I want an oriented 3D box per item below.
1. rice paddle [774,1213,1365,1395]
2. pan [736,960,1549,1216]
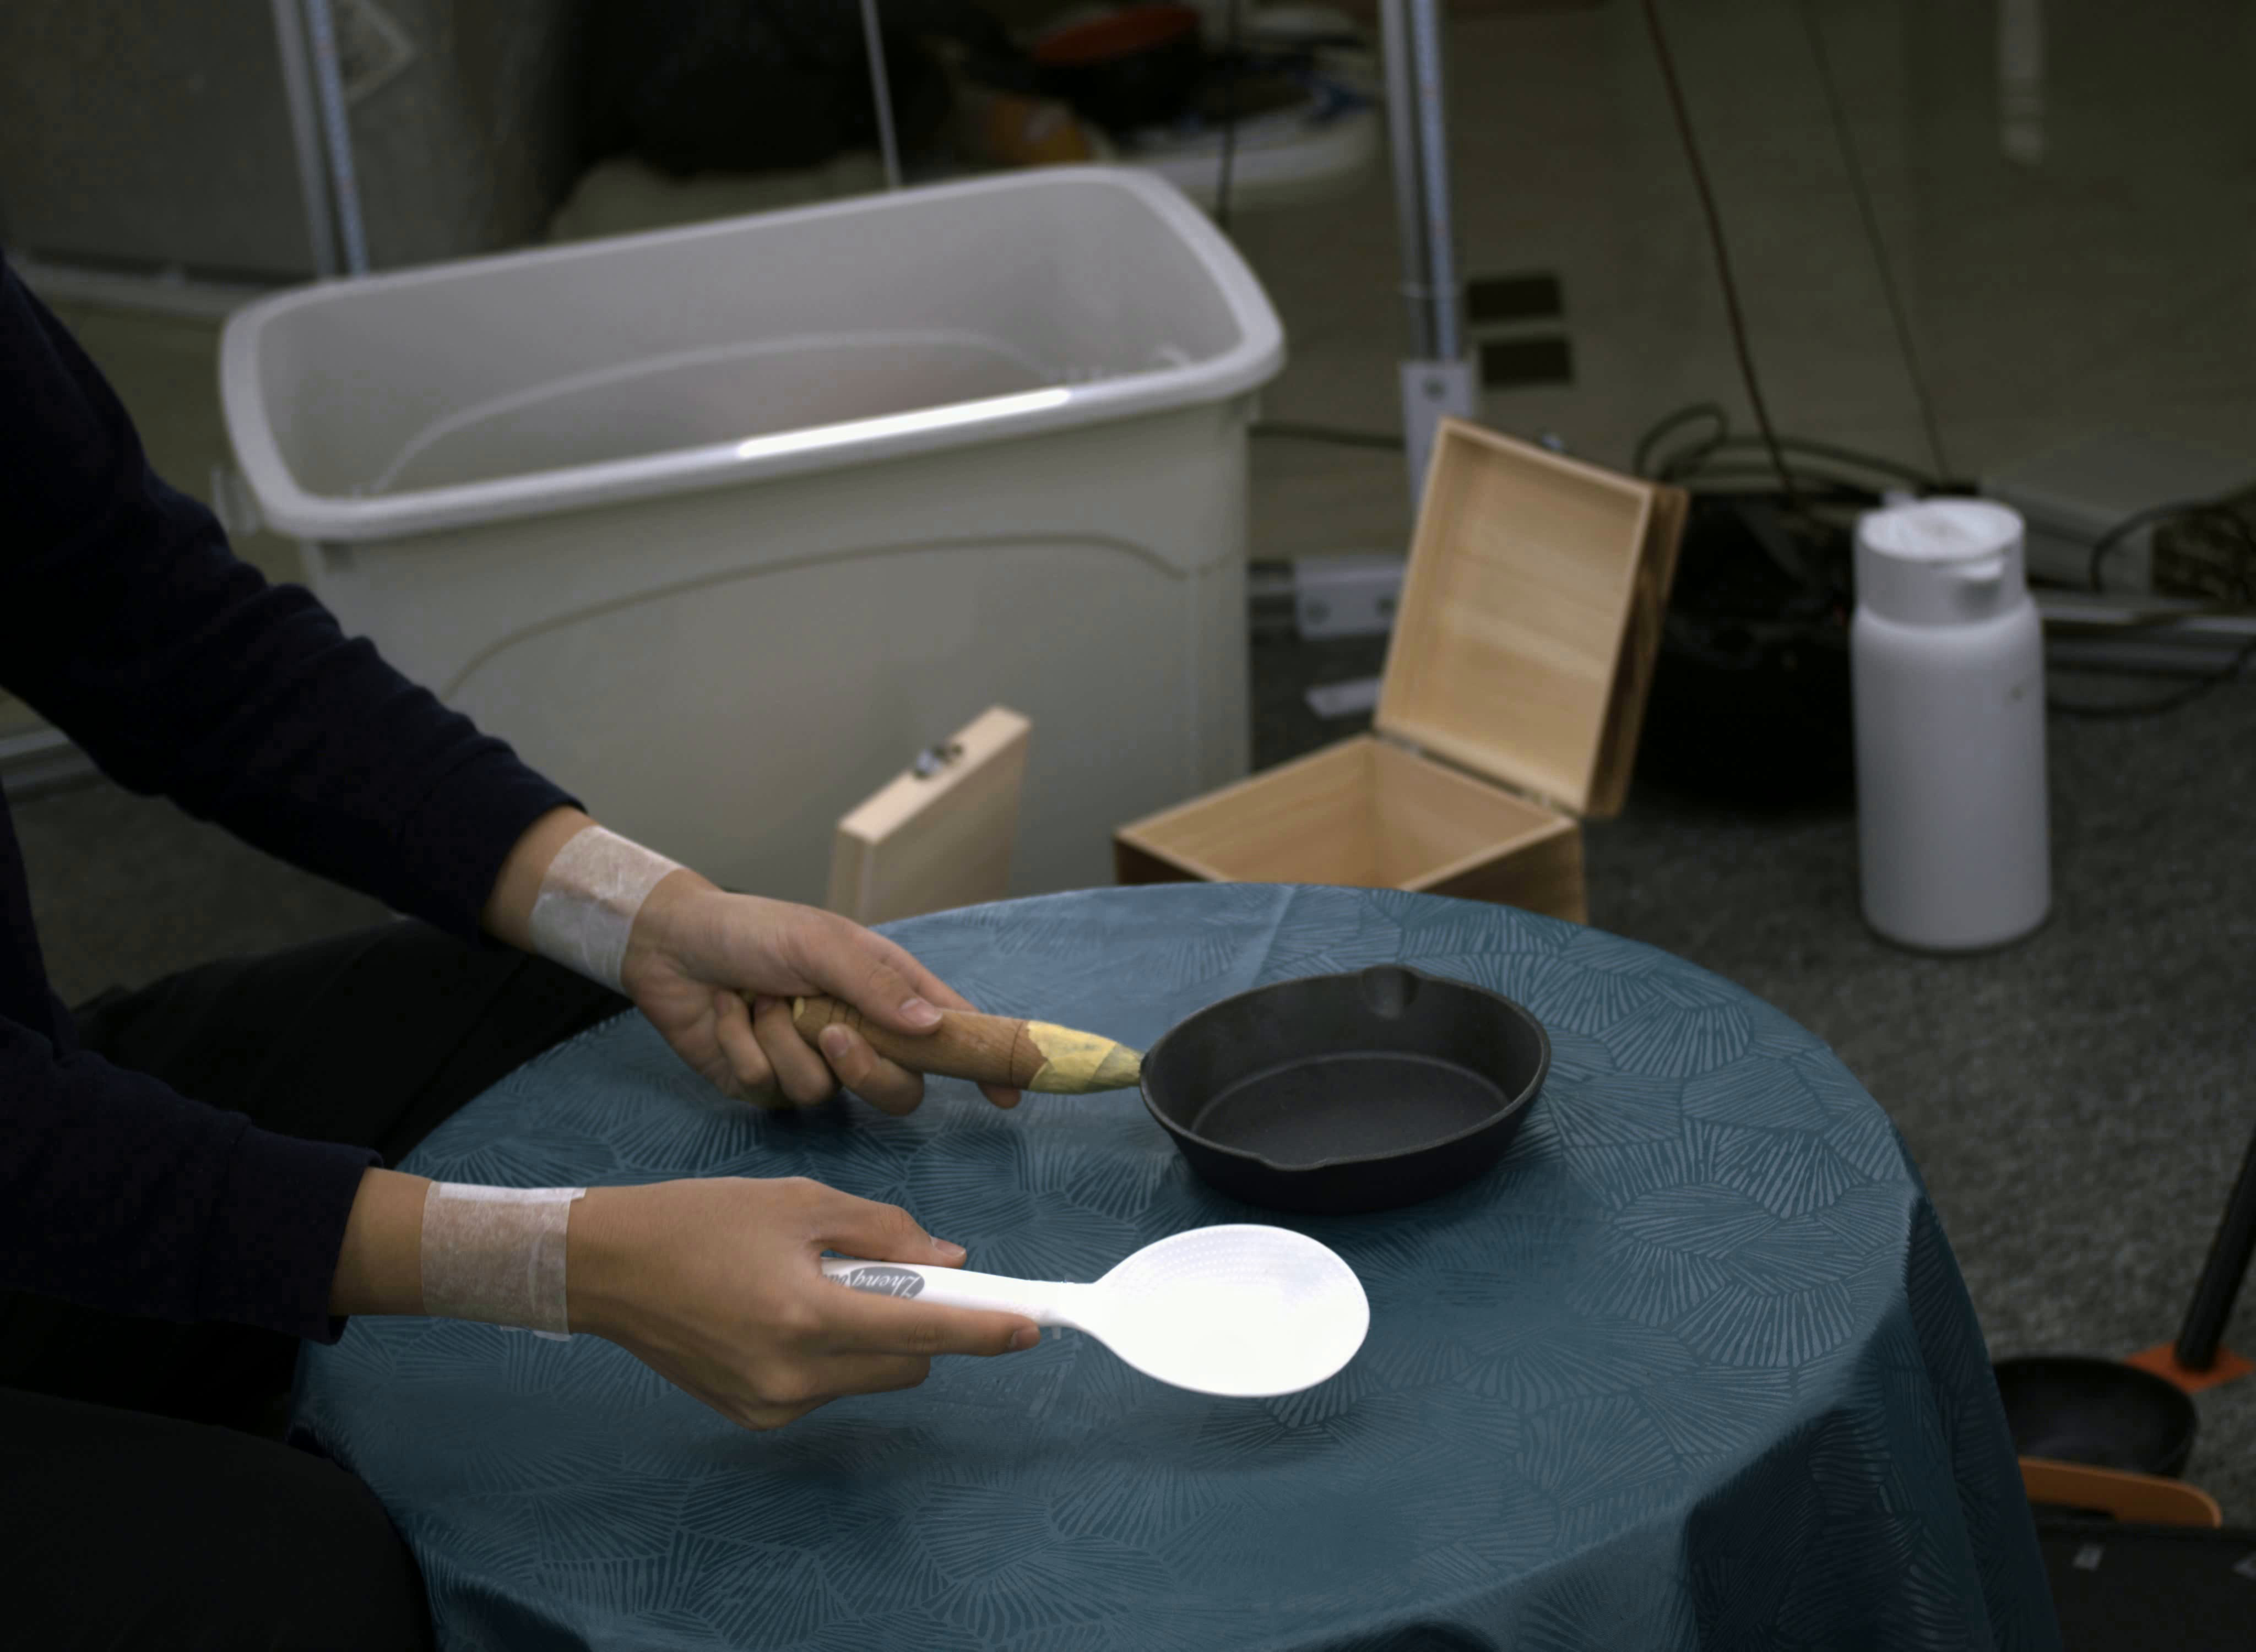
[{"bbox_3d":[-0.020,0.166,1.975,0.205,0.030,0.068,0,63,3],"label":"rice paddle"},{"bbox_3d":[0.003,0.093,2.184,0.323,0.050,0.166,4,27,18],"label":"pan"}]
